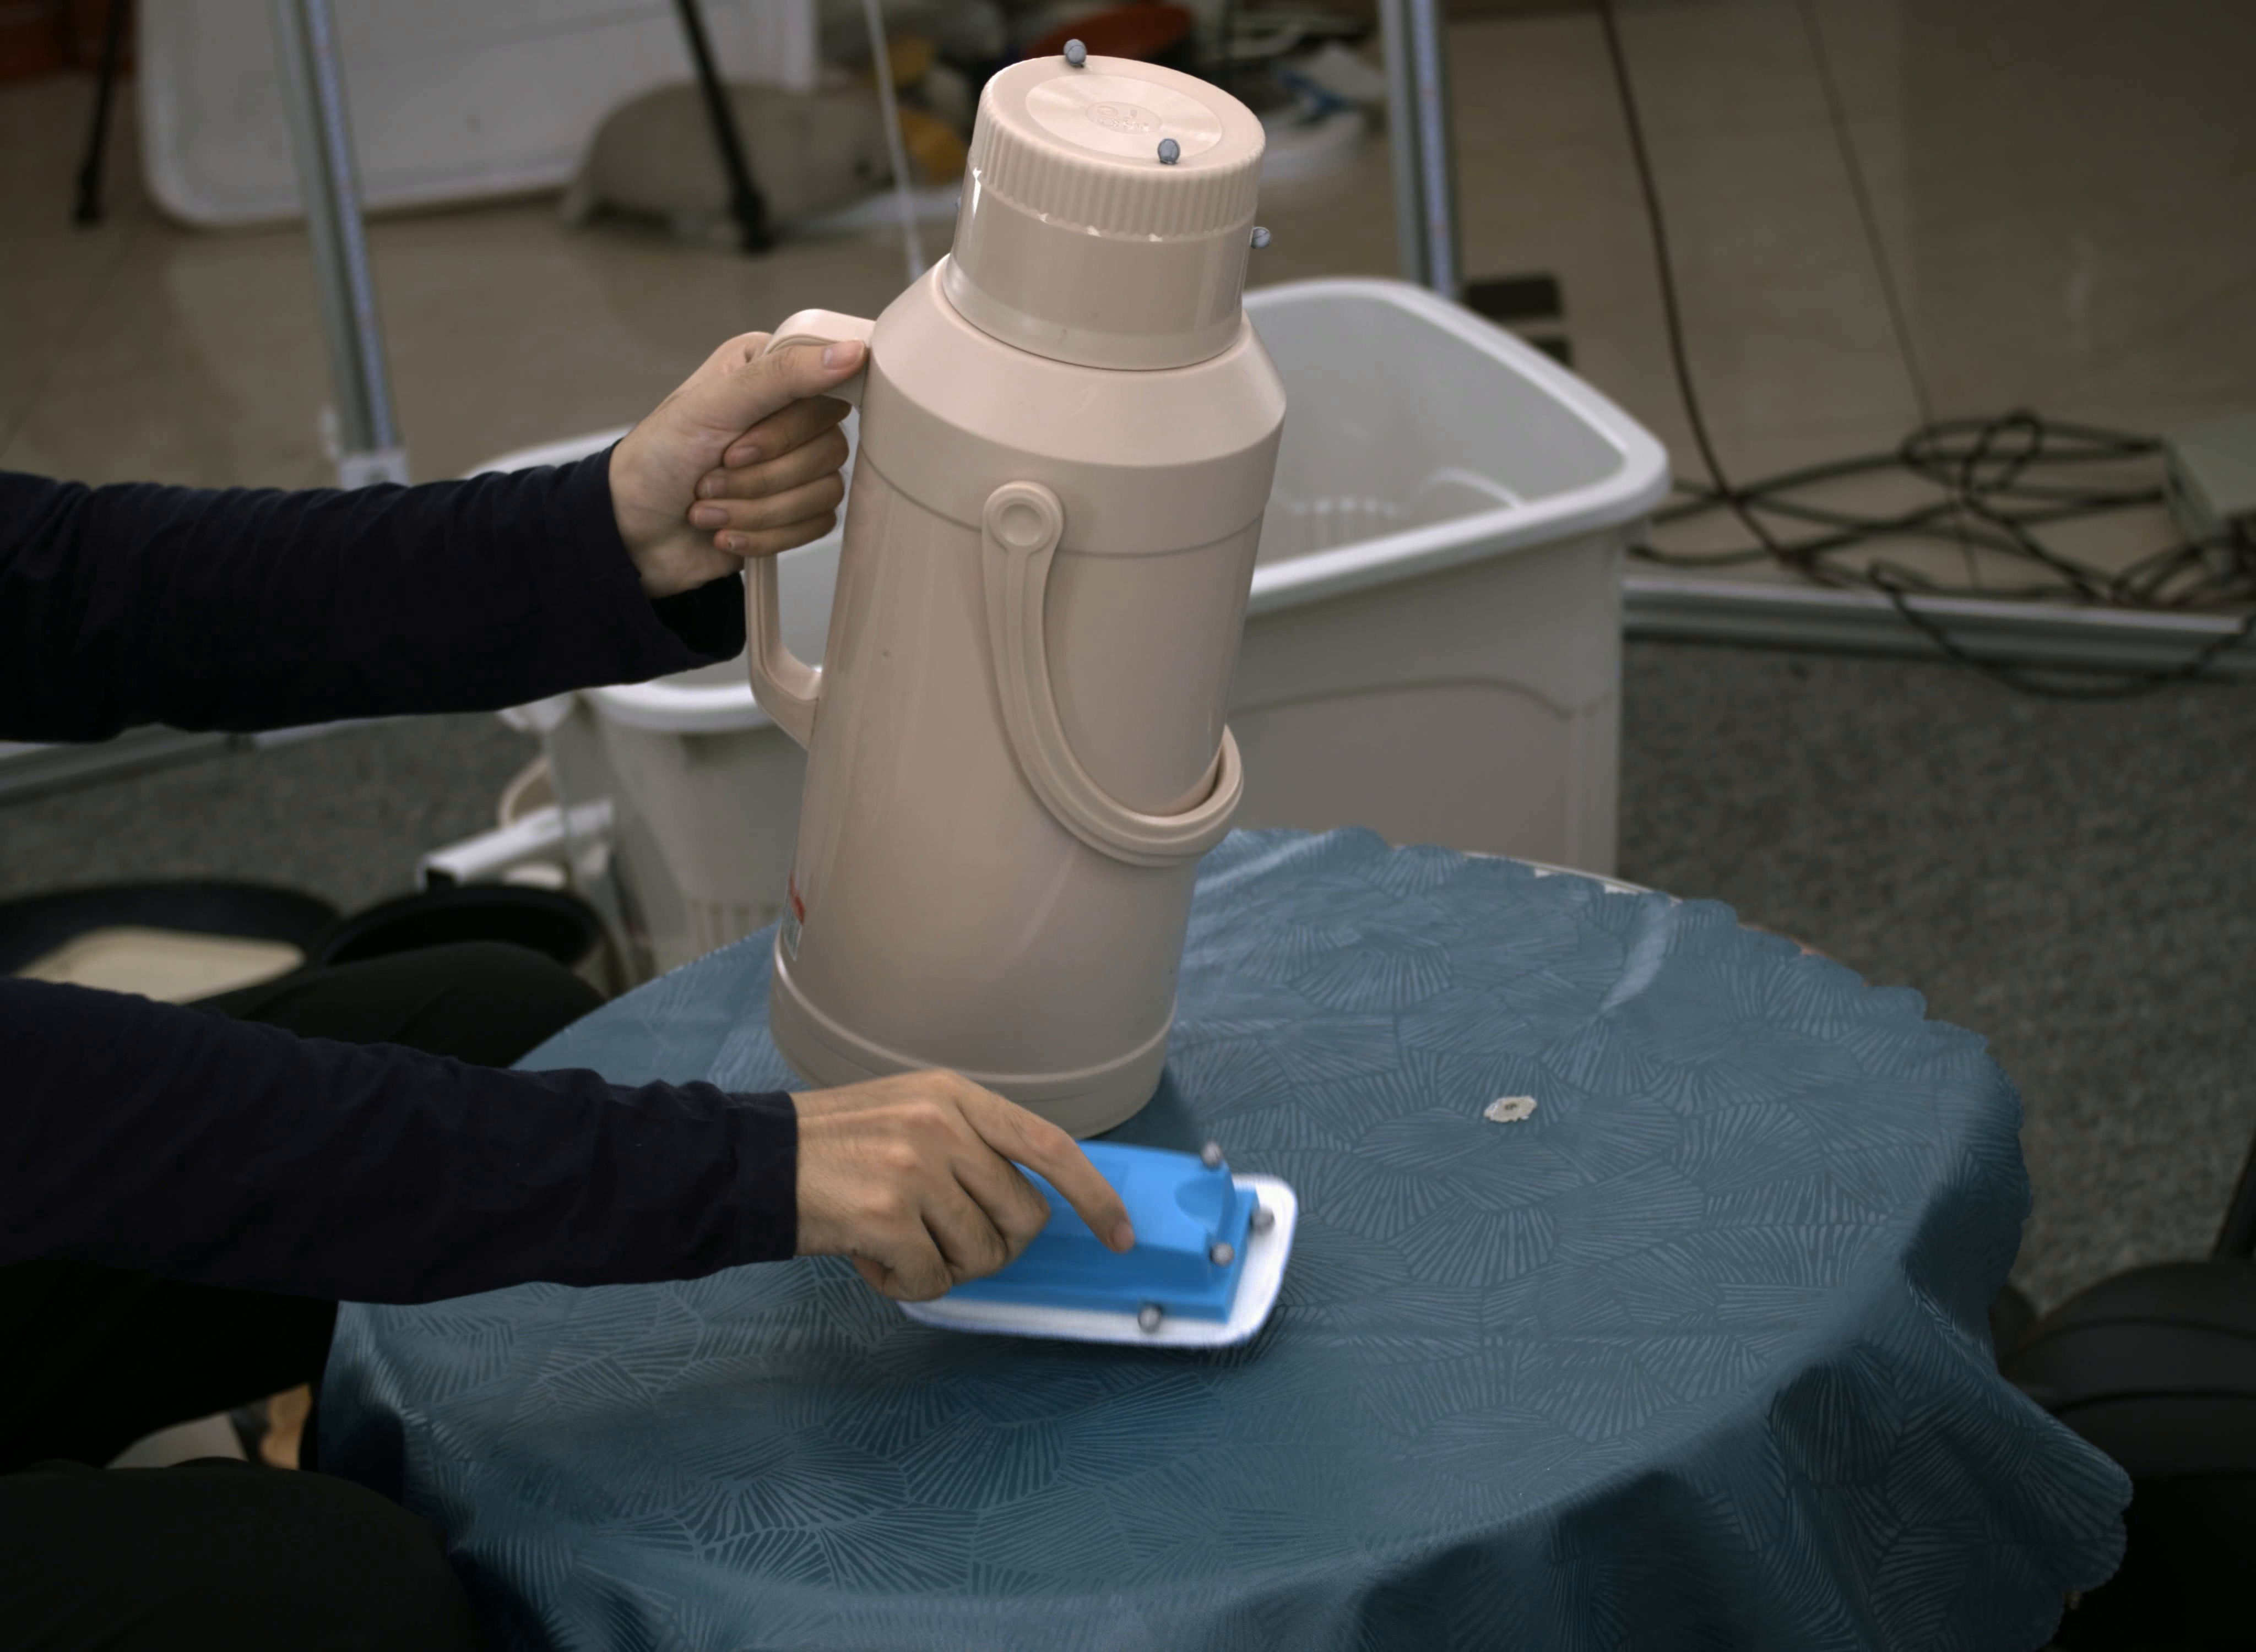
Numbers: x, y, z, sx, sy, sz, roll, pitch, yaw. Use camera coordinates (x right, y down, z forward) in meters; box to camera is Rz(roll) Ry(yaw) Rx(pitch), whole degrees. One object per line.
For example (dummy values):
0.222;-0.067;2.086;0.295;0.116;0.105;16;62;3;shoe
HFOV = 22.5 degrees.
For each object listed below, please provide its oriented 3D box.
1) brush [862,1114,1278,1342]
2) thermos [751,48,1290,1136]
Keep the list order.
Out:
-0.022;0.141;2.039;0.143;0.057;0.082;7;43;14;brush
-0.044;-0.091;2.134;0.206;0.413;0.172;12;32;4;thermos
